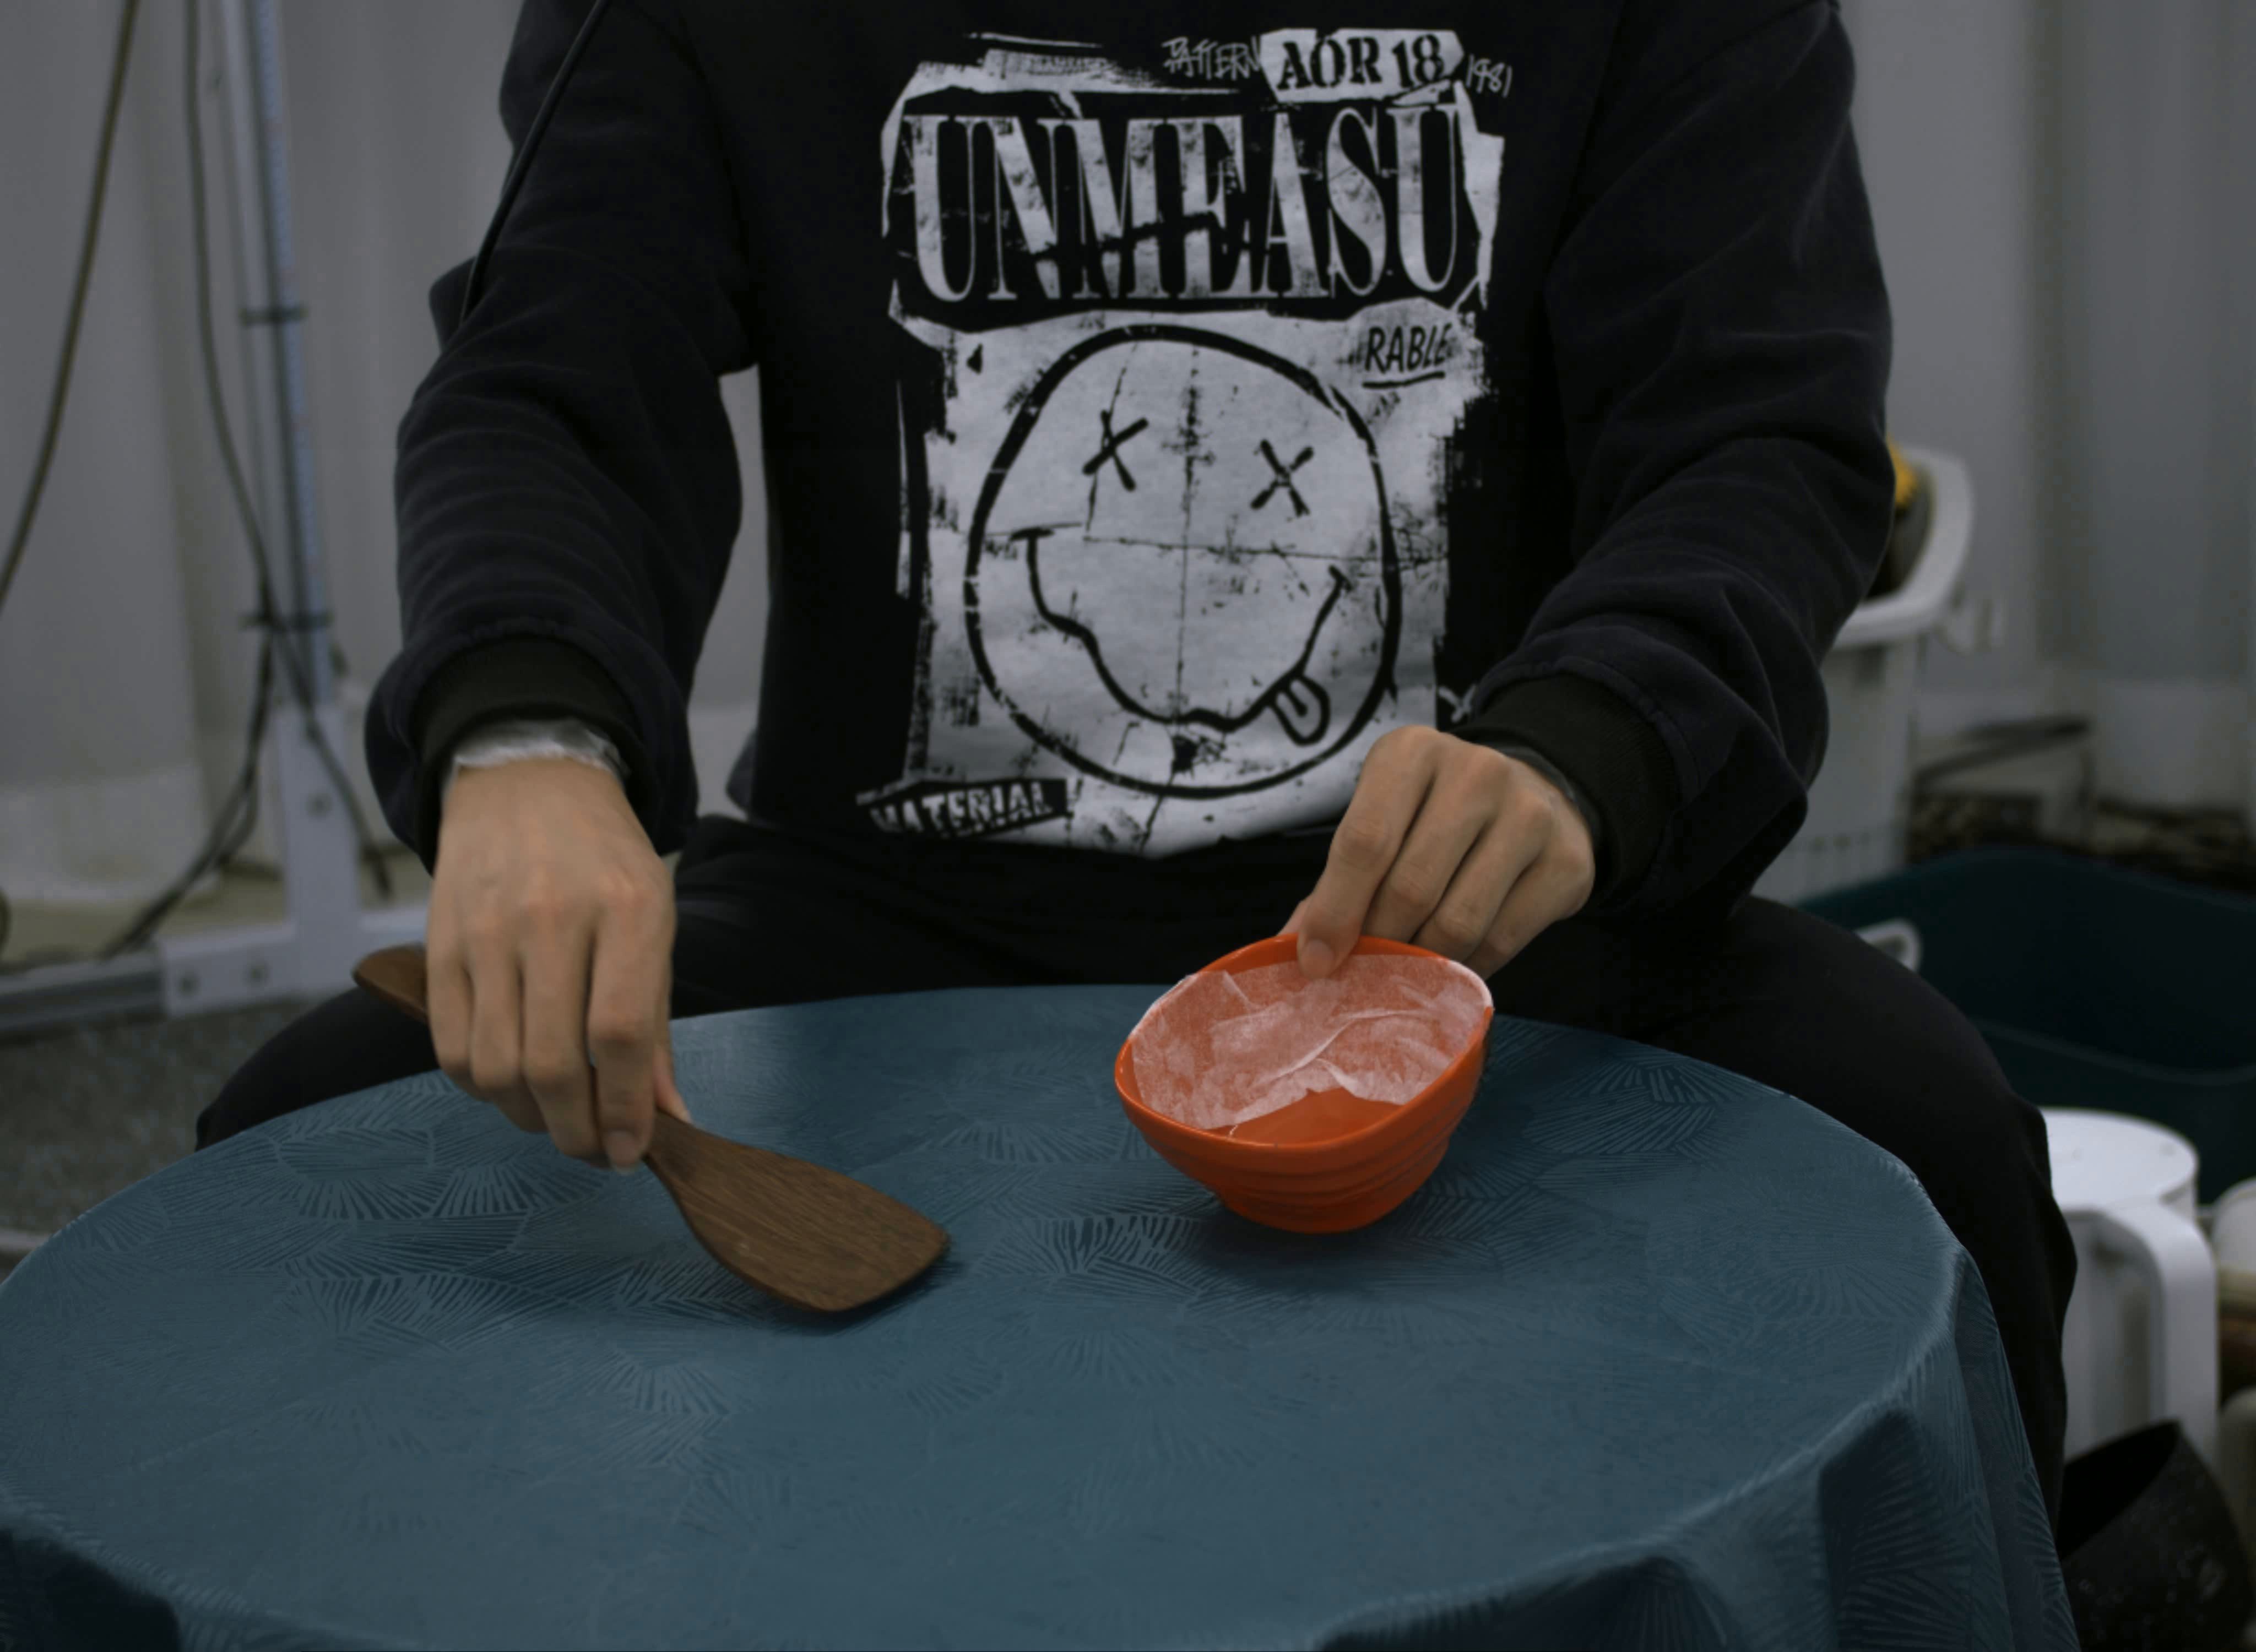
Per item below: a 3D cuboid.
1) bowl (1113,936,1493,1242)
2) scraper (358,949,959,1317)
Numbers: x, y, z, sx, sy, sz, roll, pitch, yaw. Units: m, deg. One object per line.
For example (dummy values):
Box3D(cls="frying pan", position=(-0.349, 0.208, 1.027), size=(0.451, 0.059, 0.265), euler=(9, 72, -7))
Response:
Box3D(cls="bowl", position=(0.057, 0.086, 1.683), size=(0.118, 0.051, 0.120), euler=(-10, 31, 6))
Box3D(cls="scraper", position=(-0.149, 0.091, 1.669), size=(0.212, 0.011, 0.076), euler=(30, 29, 22))
